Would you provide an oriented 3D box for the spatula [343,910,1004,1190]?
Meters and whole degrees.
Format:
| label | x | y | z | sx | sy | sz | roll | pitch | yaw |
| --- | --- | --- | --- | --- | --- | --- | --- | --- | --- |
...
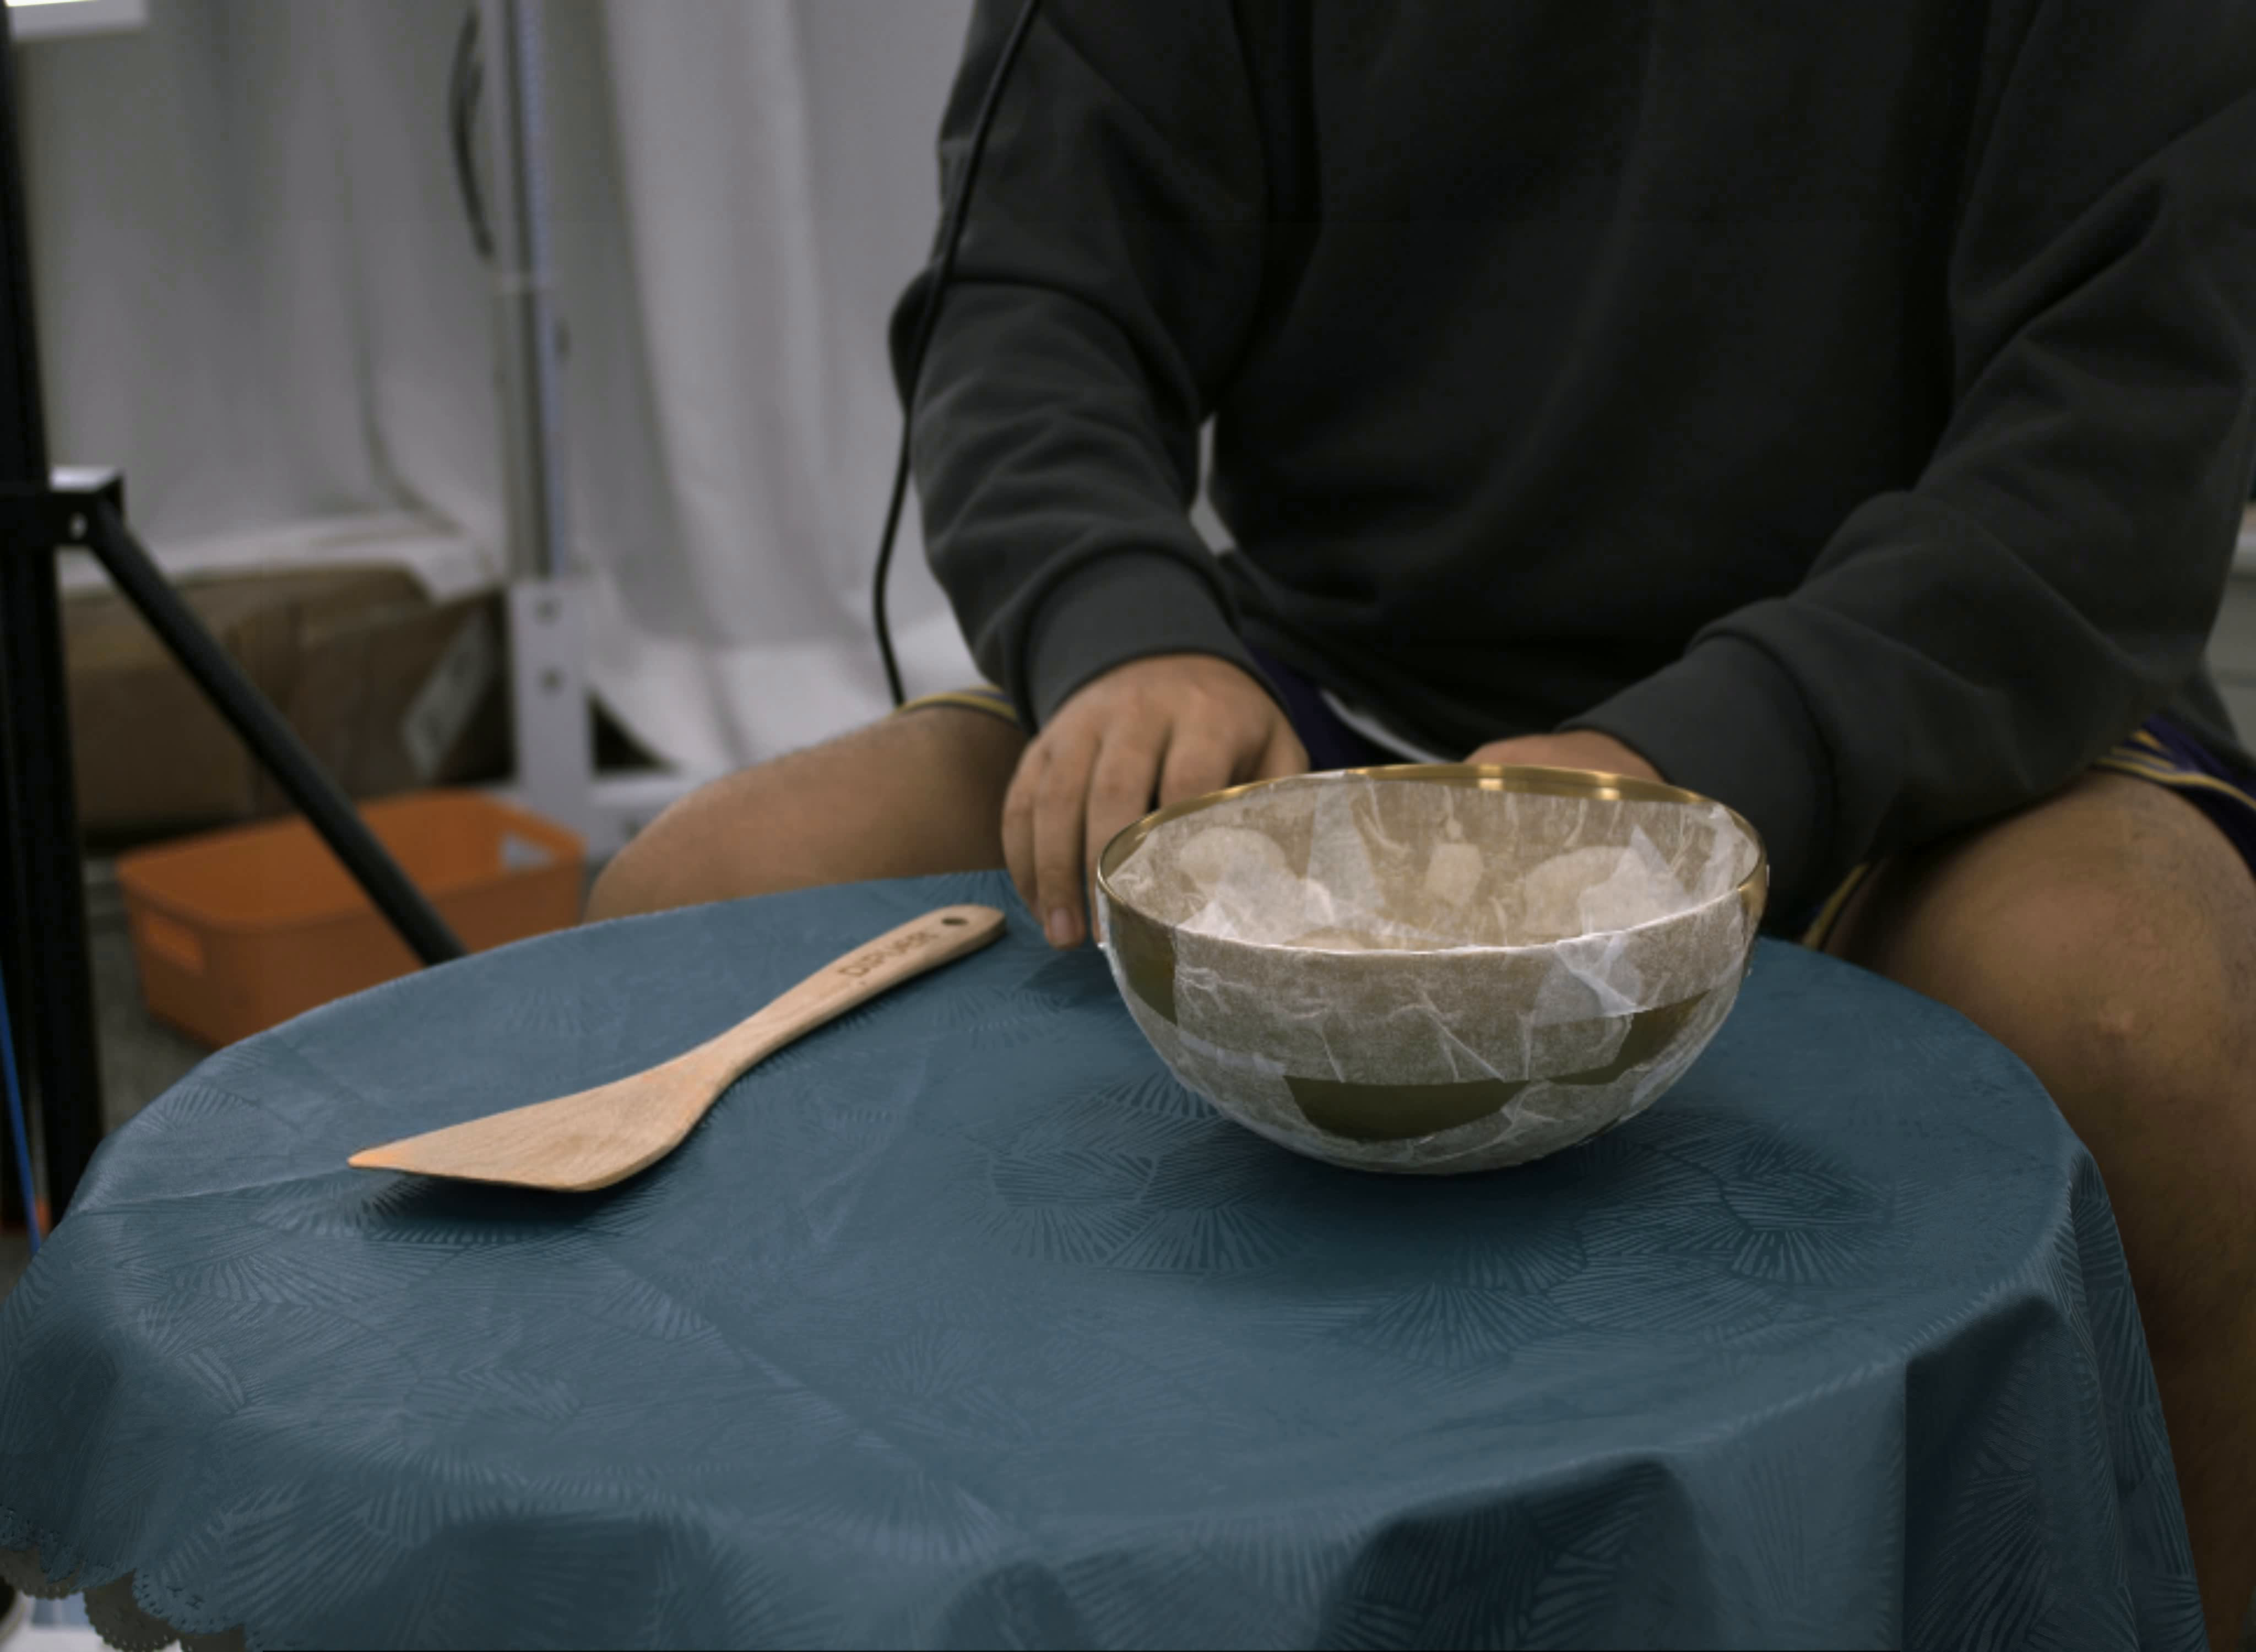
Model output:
| label | x | y | z | sx | sy | sz | roll | pitch | yaw |
| --- | --- | --- | --- | --- | --- | --- | --- | --- | --- |
| spatula | -0.124 | 0.068 | 1.692 | 0.081 | 0.016 | 0.322 | 6 | 17 | 28 |

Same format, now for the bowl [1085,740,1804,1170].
| label | x | y | z | sx | sy | sz | roll | pitch | yaw |
| --- | --- | --- | --- | --- | --- | --- | --- | --- | --- |
| bowl | 0.093 | 0.047 | 1.583 | 0.213 | 0.094 | 0.216 | -4 | 16 | 0 |
